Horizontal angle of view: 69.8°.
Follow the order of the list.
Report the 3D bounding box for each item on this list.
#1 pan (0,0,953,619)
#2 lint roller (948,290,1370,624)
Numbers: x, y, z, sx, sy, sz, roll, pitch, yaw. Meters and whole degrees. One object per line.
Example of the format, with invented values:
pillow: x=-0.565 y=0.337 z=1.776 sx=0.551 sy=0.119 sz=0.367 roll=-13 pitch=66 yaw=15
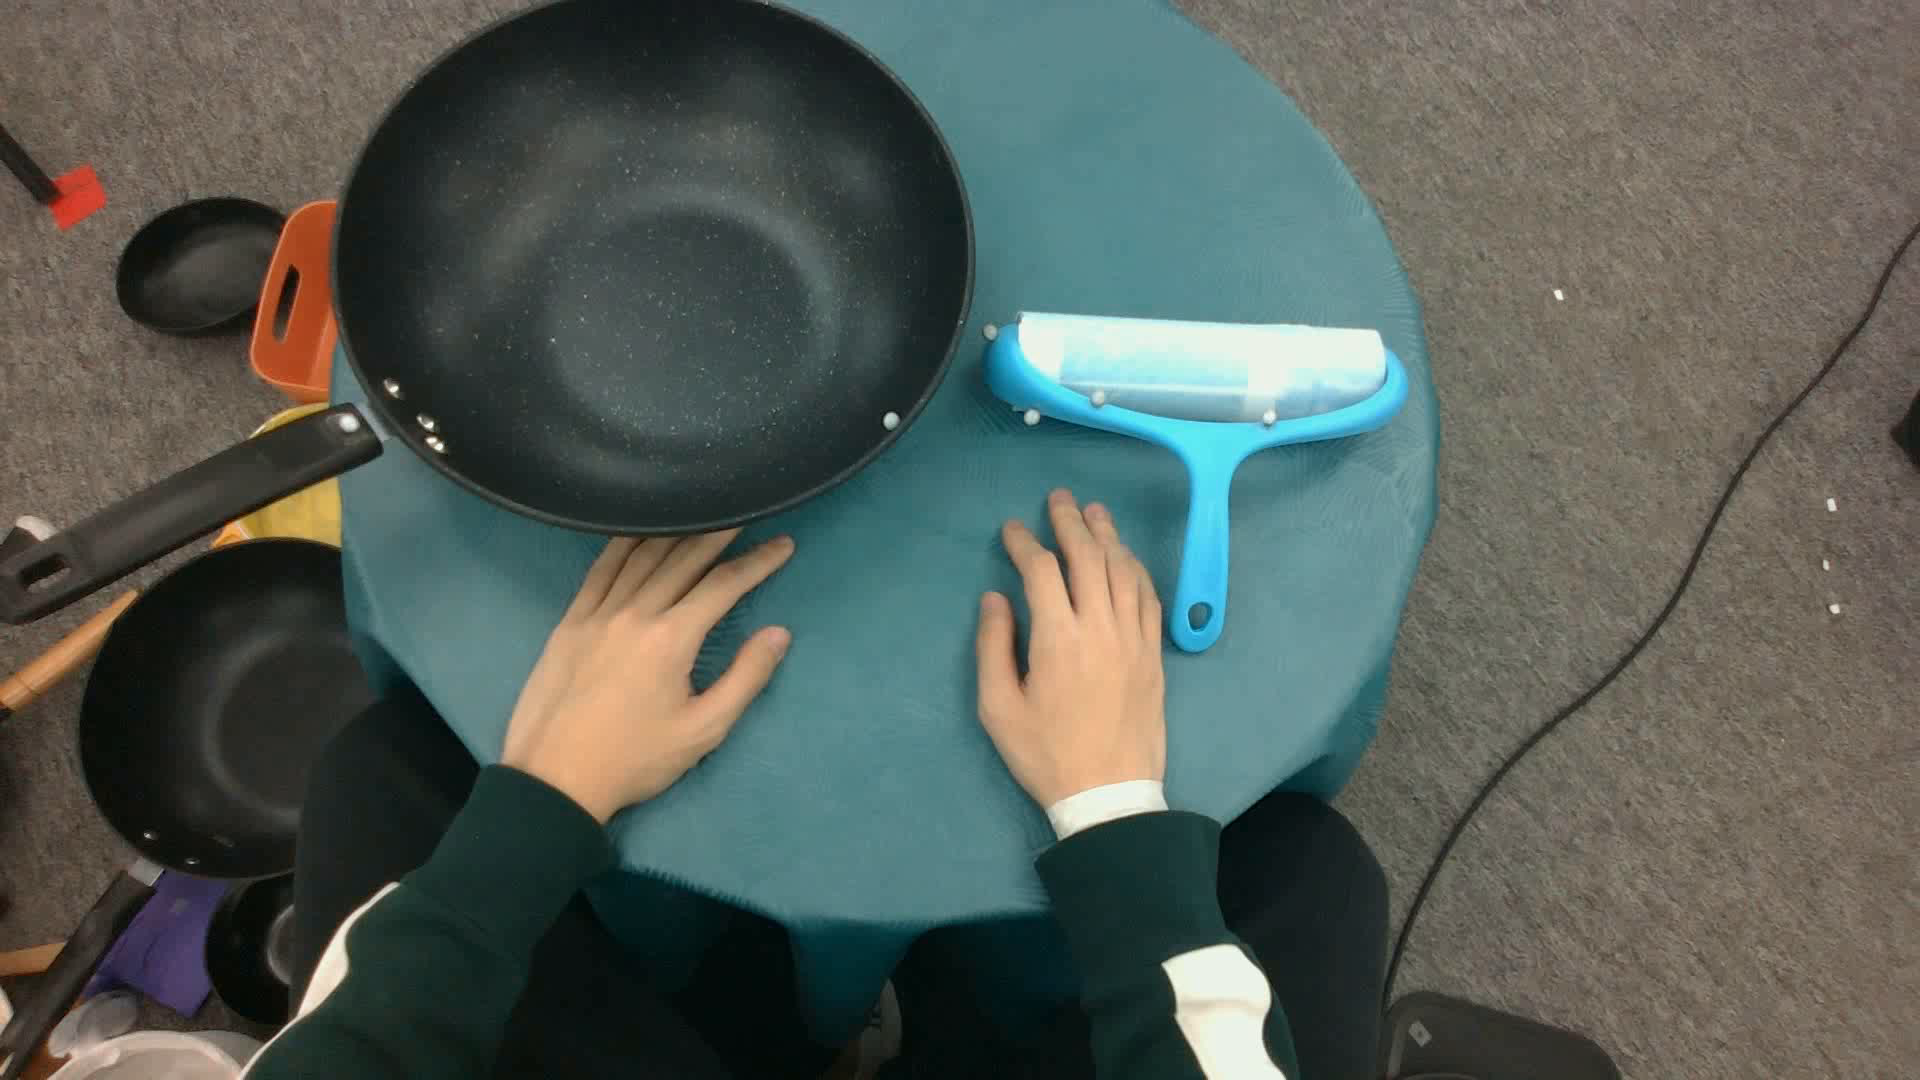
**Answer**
pan: x=-0.222 y=-0.097 z=0.677 sx=0.478 sy=0.111 sz=0.310 roll=-38 pitch=76 yaw=-18
lint roller: x=0.112 y=-0.051 z=0.723 sx=0.229 sy=0.067 sz=0.181 roll=-2 pitch=70 yaw=-9
